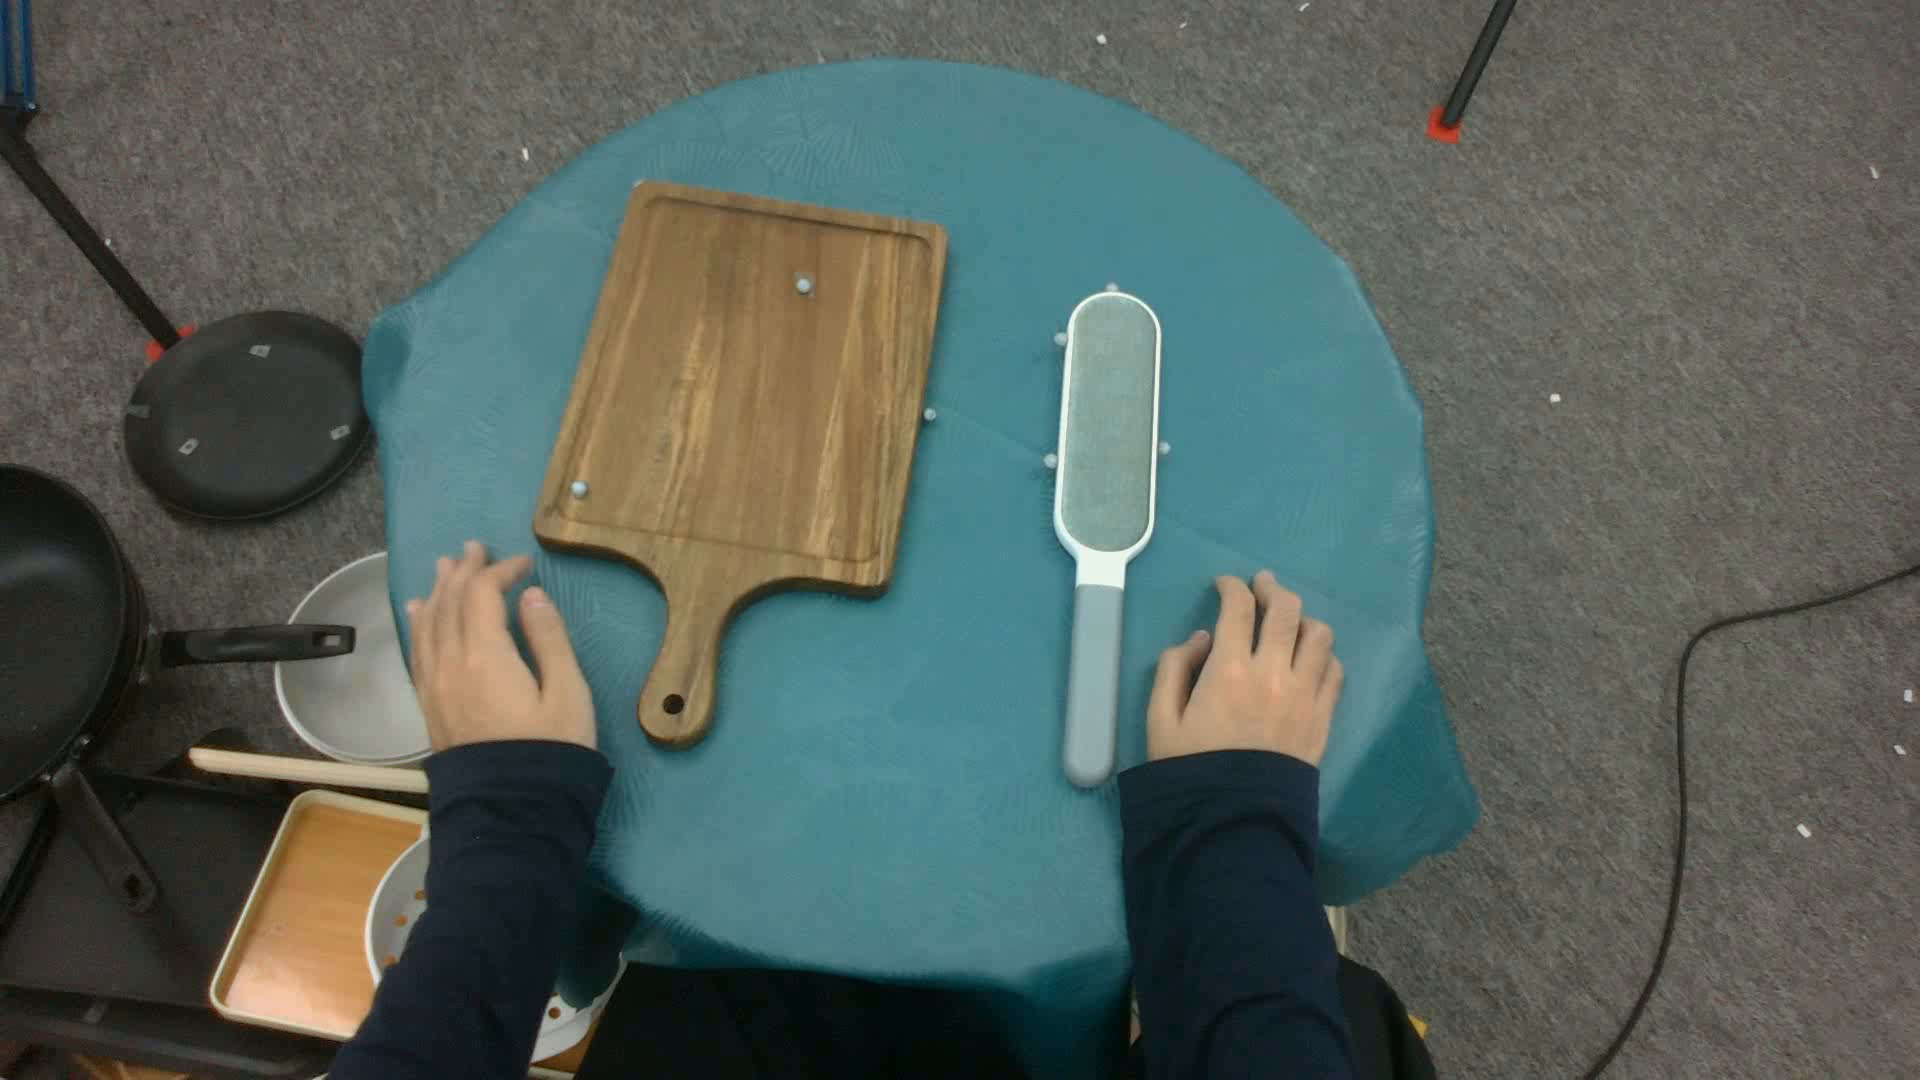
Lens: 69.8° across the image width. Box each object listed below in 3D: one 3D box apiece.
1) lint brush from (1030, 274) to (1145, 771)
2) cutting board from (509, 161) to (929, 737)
[{"bbox_3d":[0.068,-0.021,0.771,0.060,0.021,0.310,10,64,-6],"label":"lint brush"},{"bbox_3d":[-0.137,-0.061,0.775,0.201,0.023,0.353,9,64,-1],"label":"cutting board"}]
